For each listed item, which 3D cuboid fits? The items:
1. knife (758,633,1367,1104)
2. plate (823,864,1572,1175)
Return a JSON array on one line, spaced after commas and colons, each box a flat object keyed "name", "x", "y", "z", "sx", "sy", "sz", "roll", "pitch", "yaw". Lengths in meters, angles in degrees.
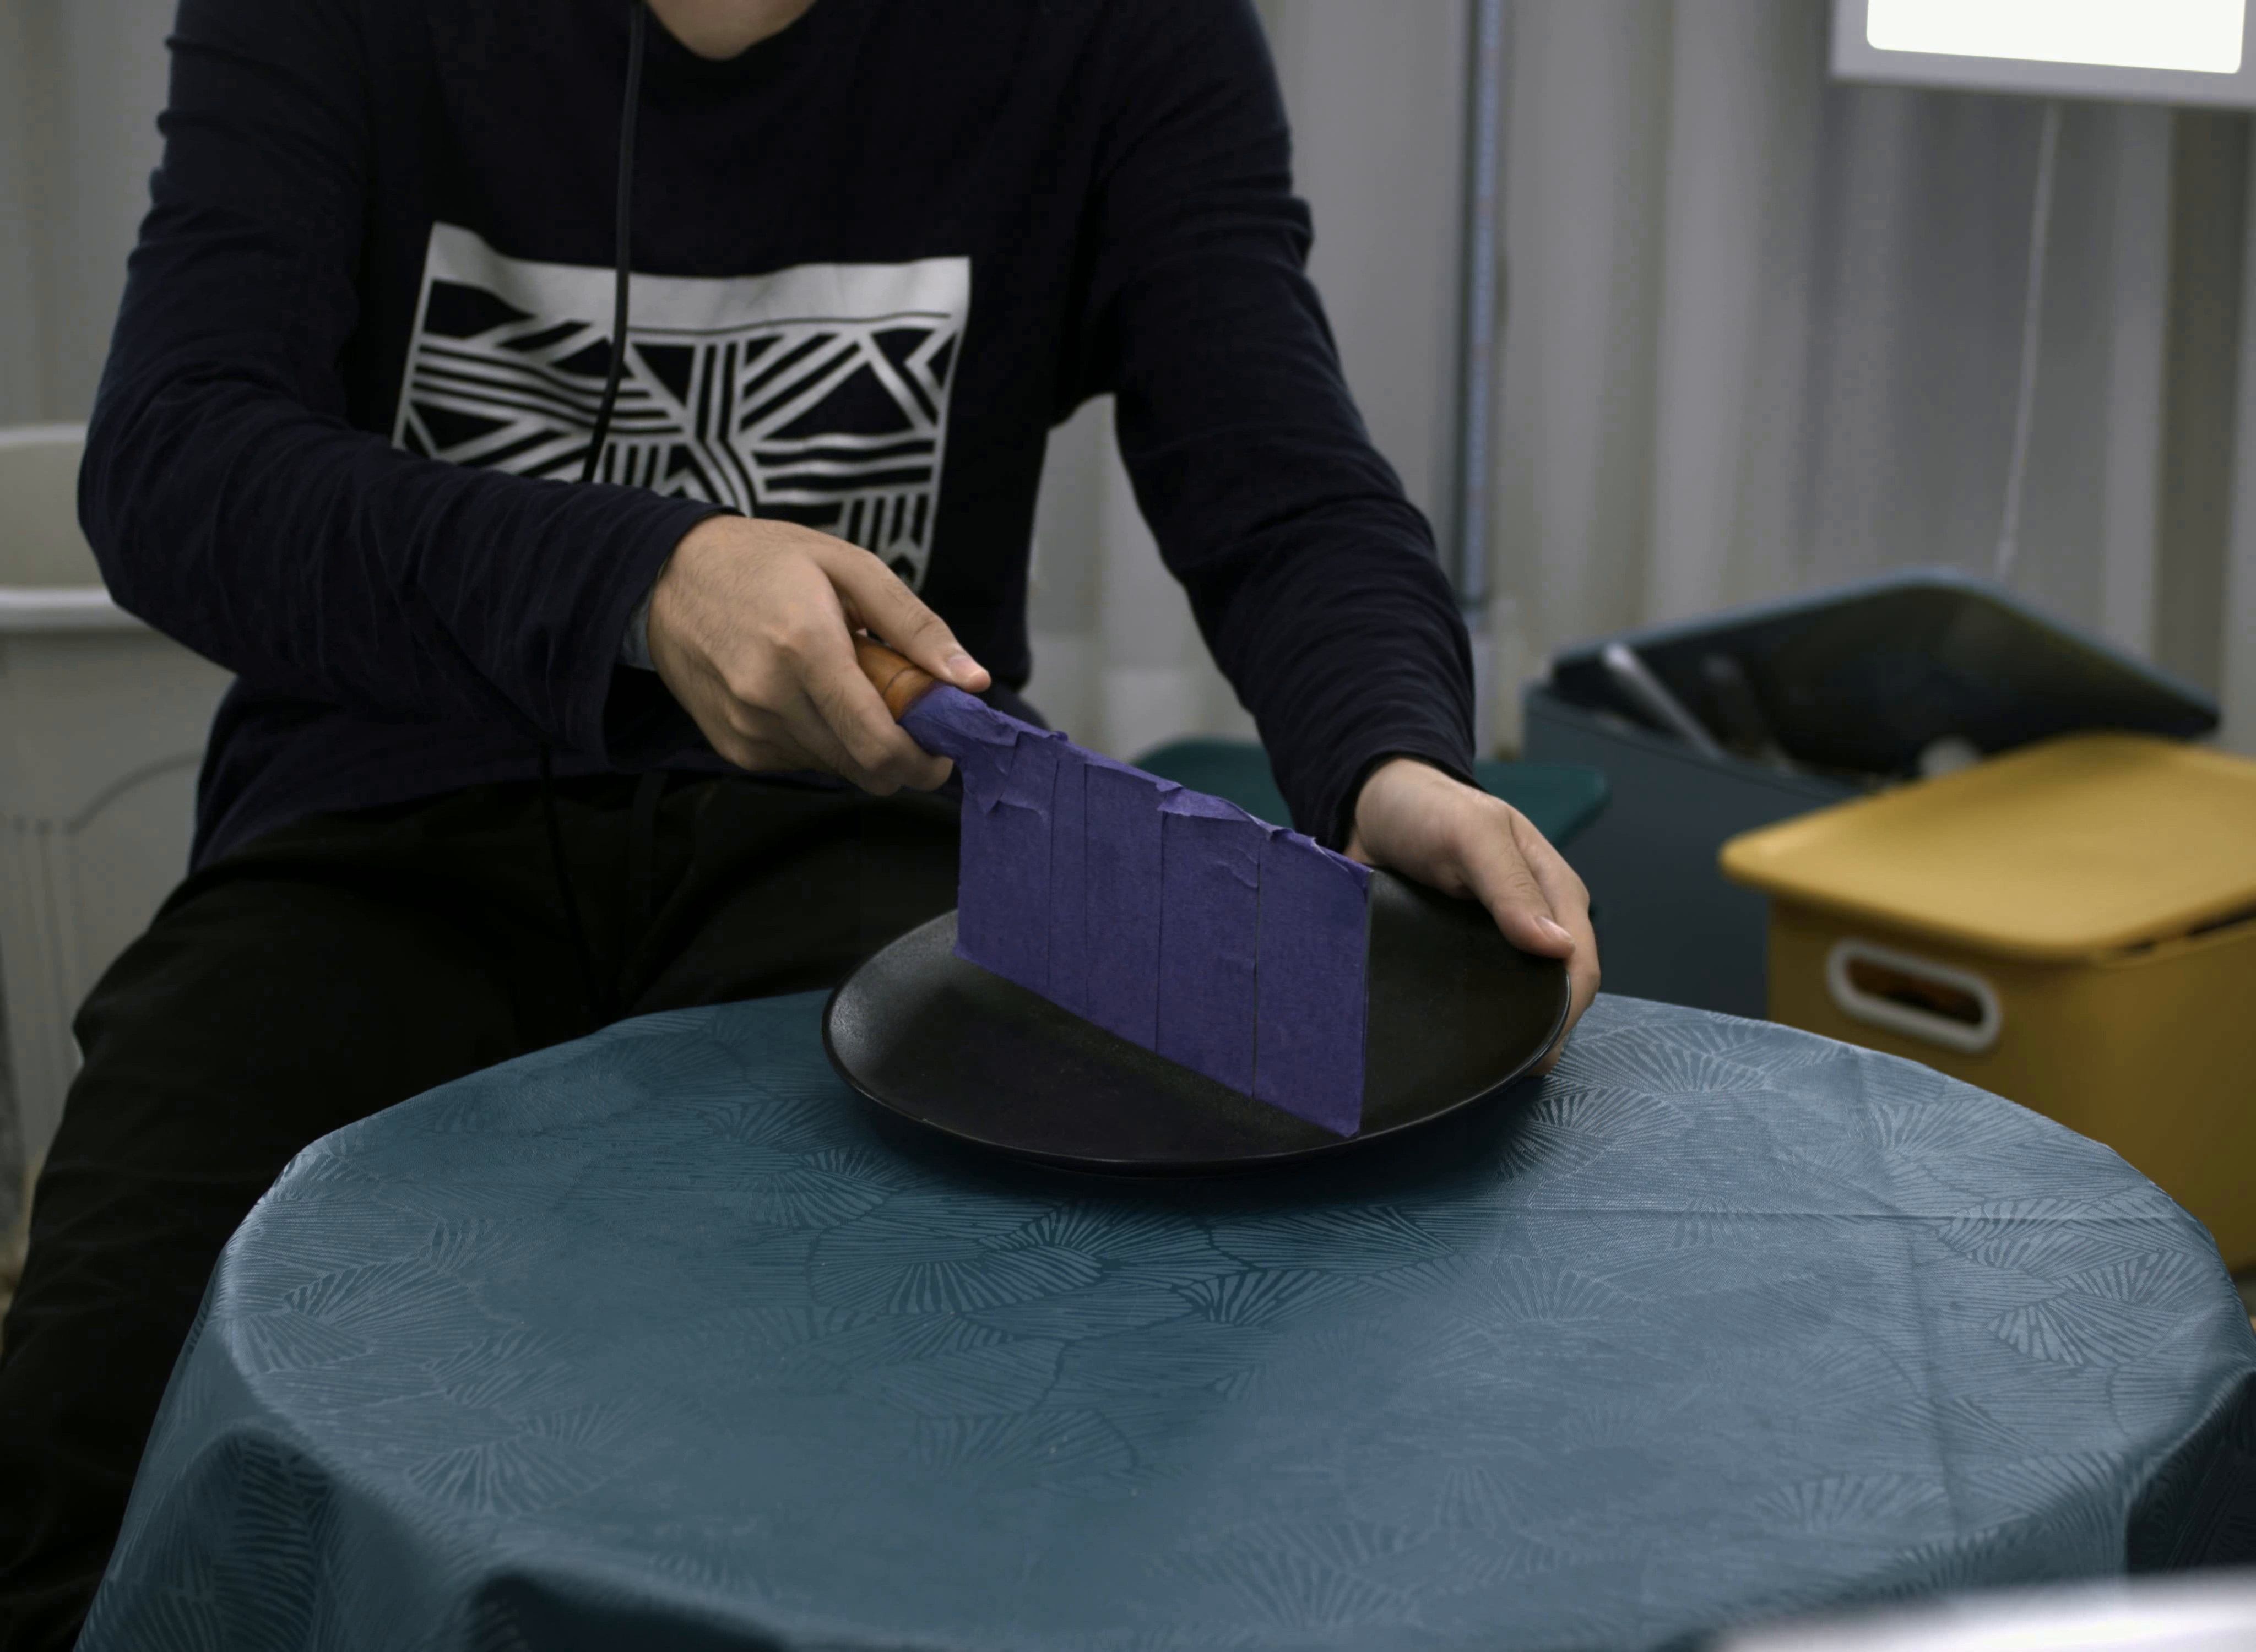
[{"name": "knife", "x": -0.026, "y": 0.013, "z": 1.704, "sx": 0.032, "sy": 0.104, "sz": 0.311, "roll": -9, "pitch": 20, "yaw": -36}, {"name": "plate", "x": 0.023, "y": 0.065, "z": 1.712, "sx": 0.243, "sy": 0.023, "sz": 0.243, "roll": -4, "pitch": 21, "yaw": 2}]
